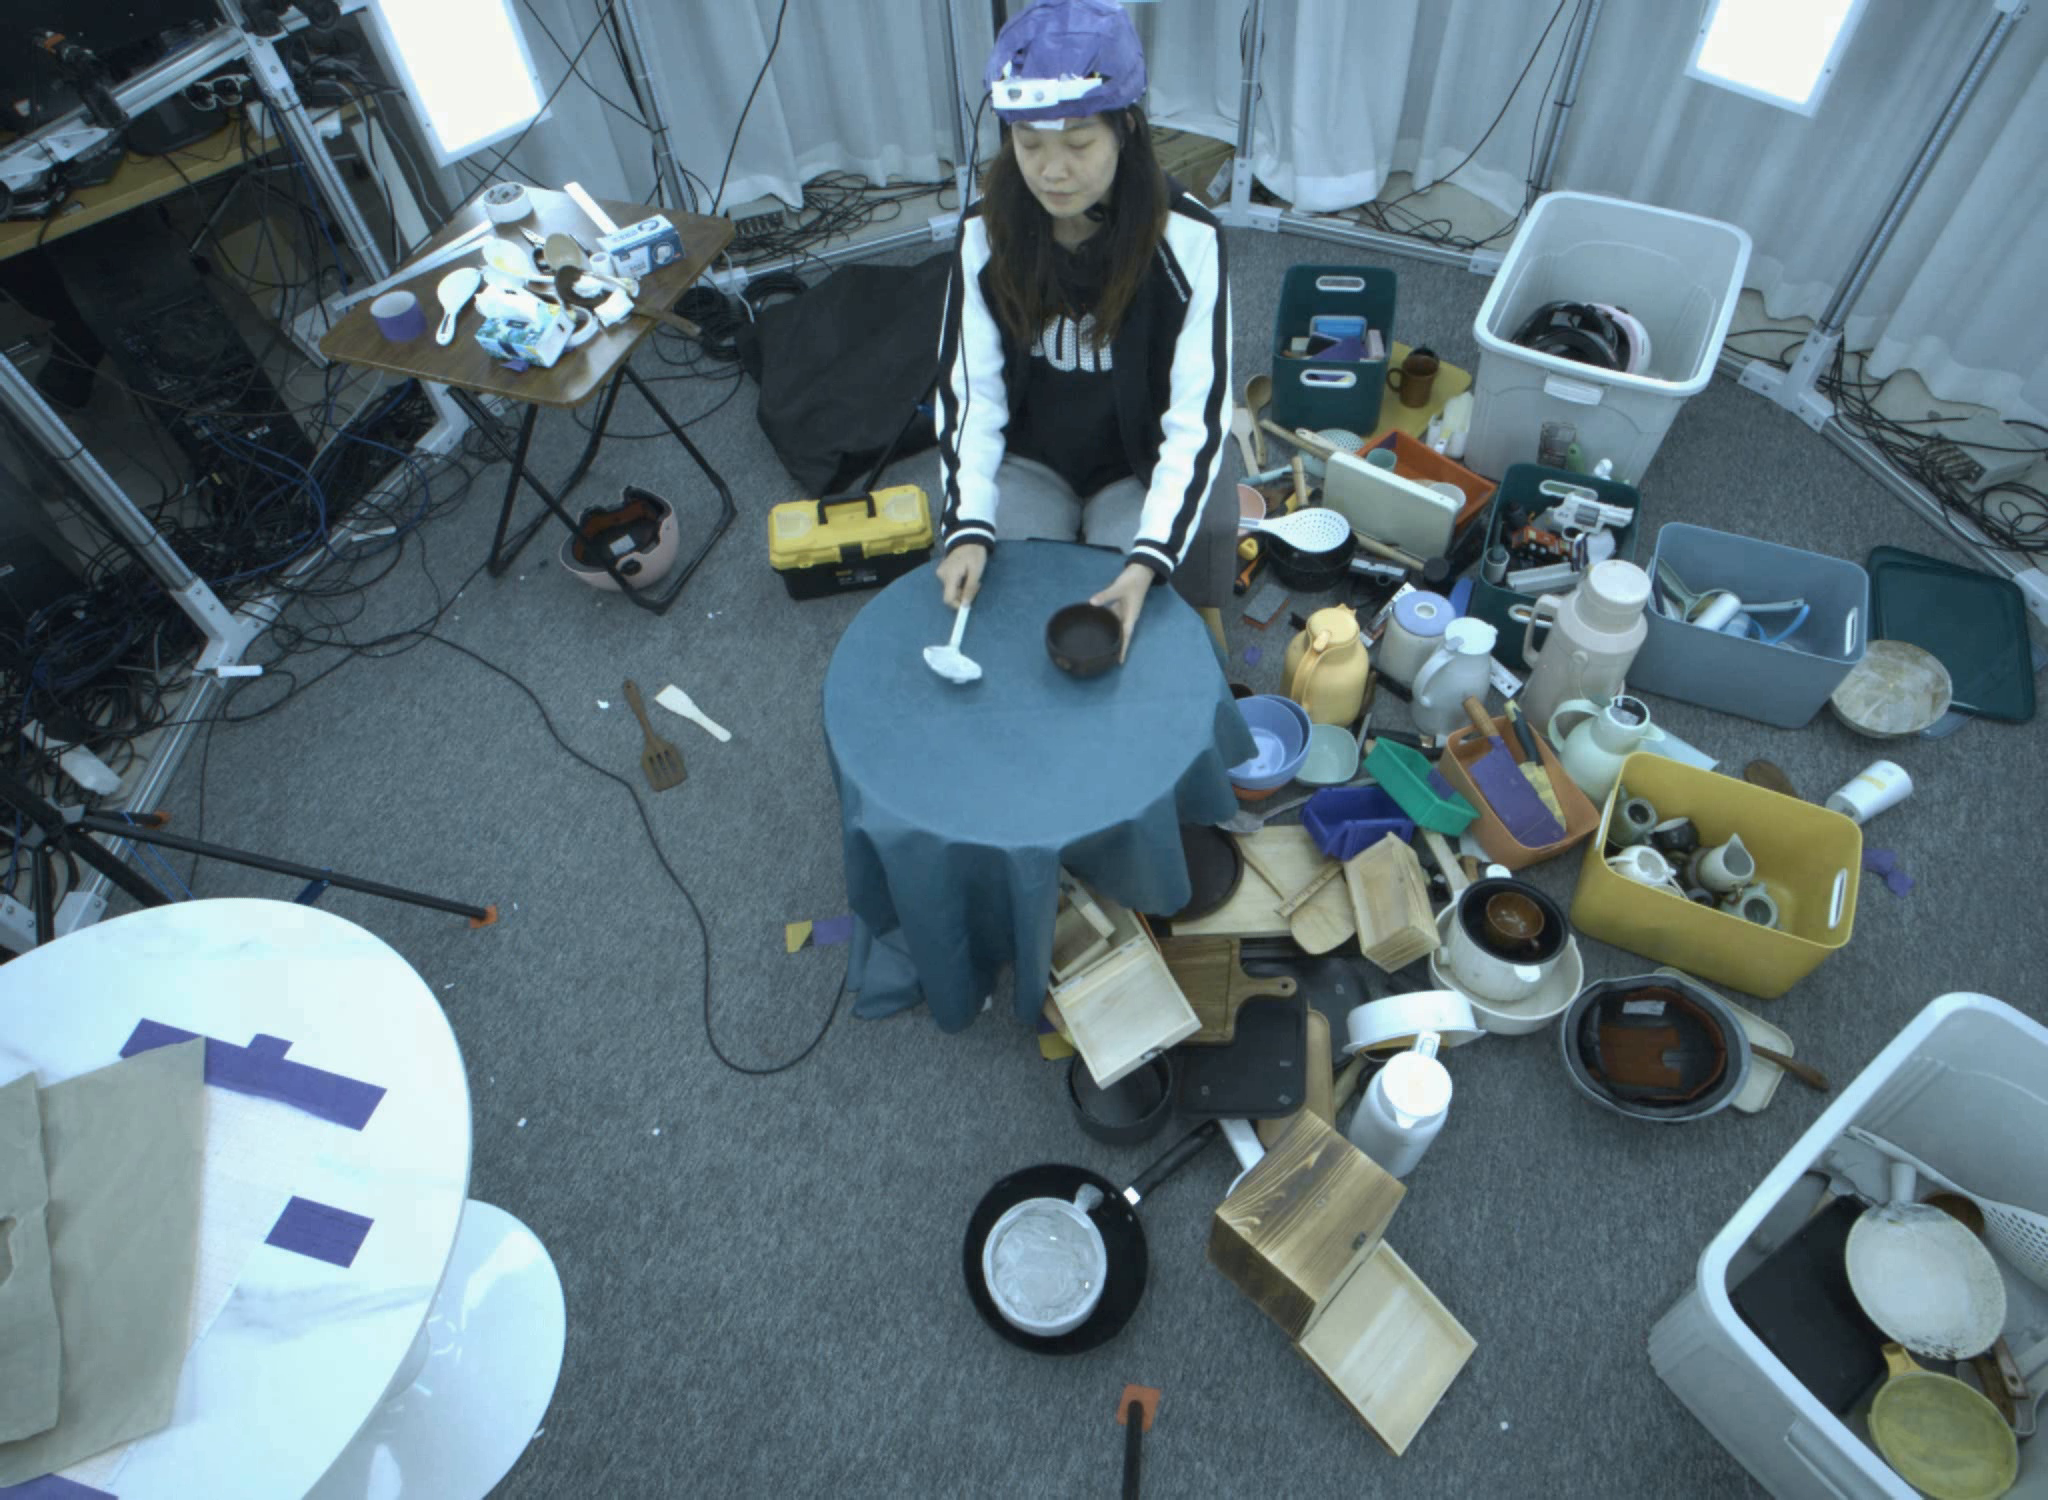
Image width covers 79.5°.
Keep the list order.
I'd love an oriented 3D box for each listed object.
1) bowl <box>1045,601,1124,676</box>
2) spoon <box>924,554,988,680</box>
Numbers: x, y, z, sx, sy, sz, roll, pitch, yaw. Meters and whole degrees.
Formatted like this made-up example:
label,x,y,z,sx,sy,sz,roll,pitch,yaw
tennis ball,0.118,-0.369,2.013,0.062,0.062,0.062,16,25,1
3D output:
label,x,y,z,sx,sy,sz,roll,pitch,yaw
bowl,0.091,-0.160,1.853,0.118,0.070,0.117,0,54,2
spoon,-0.082,-0.212,1.892,0.102,0.059,0.276,25,57,-15
